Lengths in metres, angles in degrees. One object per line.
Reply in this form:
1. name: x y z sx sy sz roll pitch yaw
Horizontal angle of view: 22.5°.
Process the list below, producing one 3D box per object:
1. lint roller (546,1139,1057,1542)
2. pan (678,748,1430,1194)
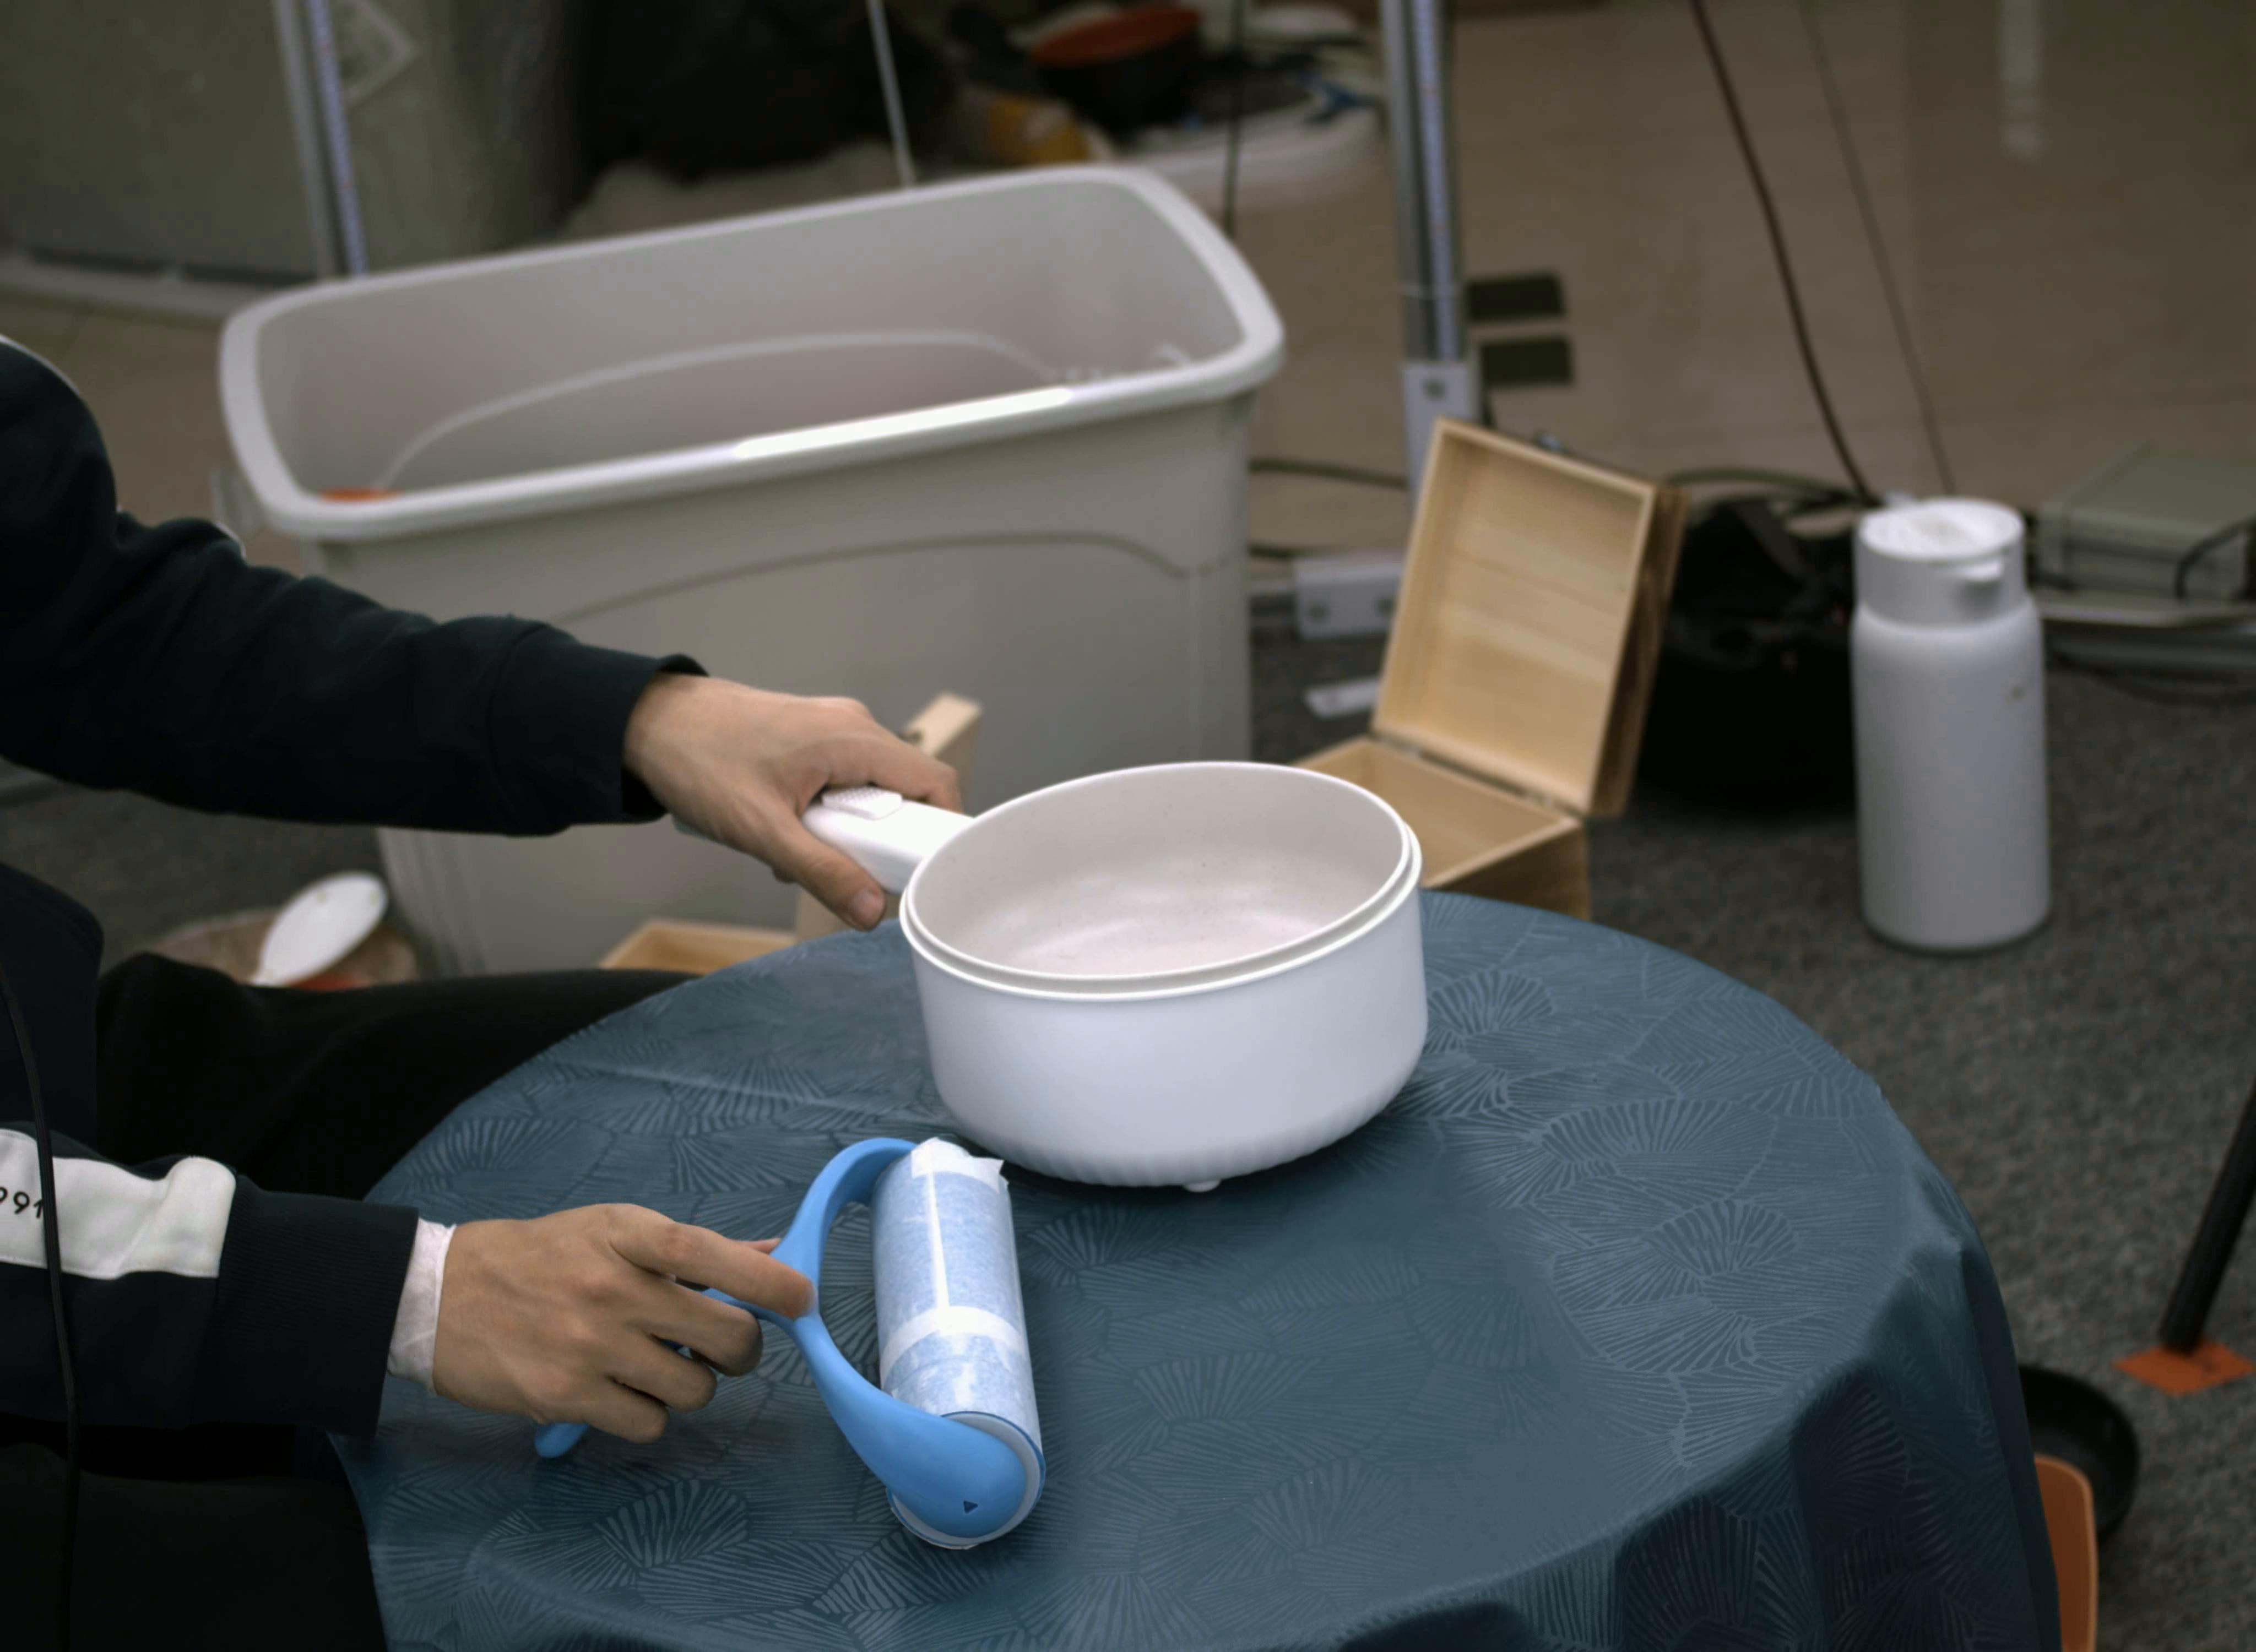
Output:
1. lint roller: -0.119 0.187 2.000 0.180 0.069 0.225 -7 27 -5
2. pan: -0.039 0.048 2.232 0.352 0.104 0.199 14 33 40
